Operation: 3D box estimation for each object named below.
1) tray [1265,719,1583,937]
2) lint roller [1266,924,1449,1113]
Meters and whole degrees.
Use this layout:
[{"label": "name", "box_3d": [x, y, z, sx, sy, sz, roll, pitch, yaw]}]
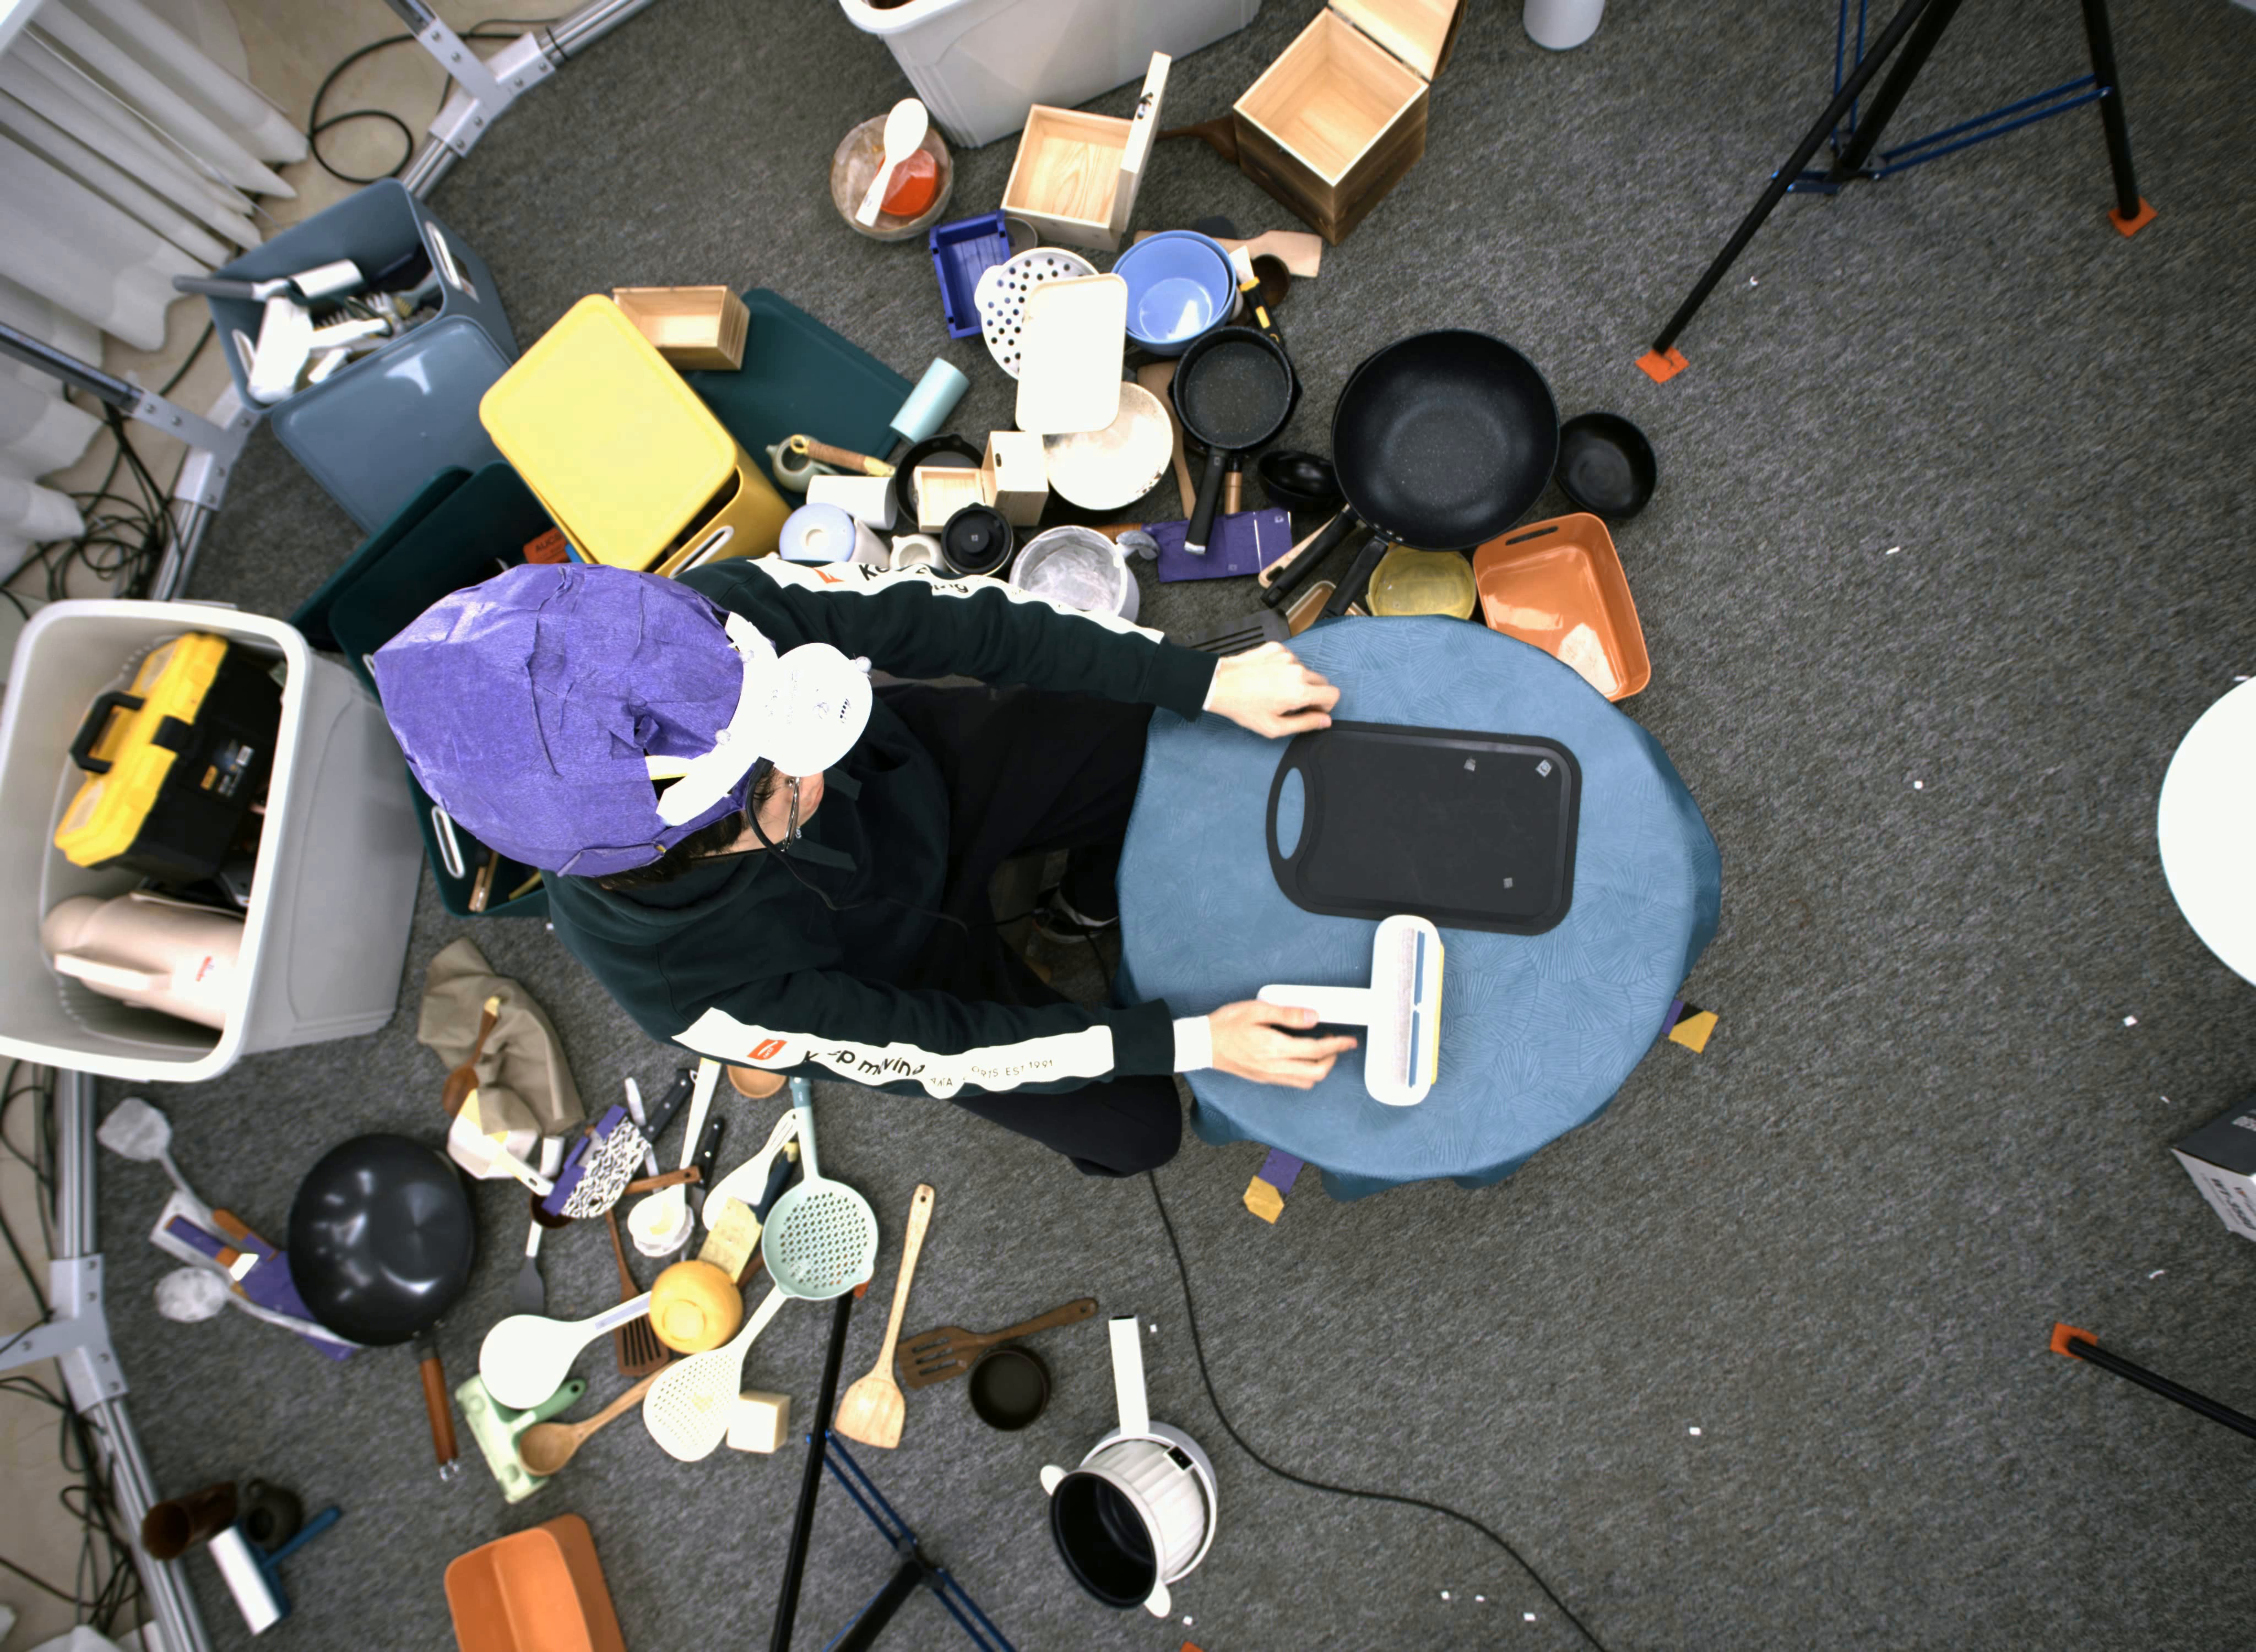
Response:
[{"label": "tray", "box_3d": [0.307, -0.002, 1.449, 0.326, 0.010, 0.210, 6, 88, 11]}, {"label": "lint roller", "box_3d": [0.229, 0.190, 1.441, 0.193, 0.074, 0.191, 7, 81, 25]}]
